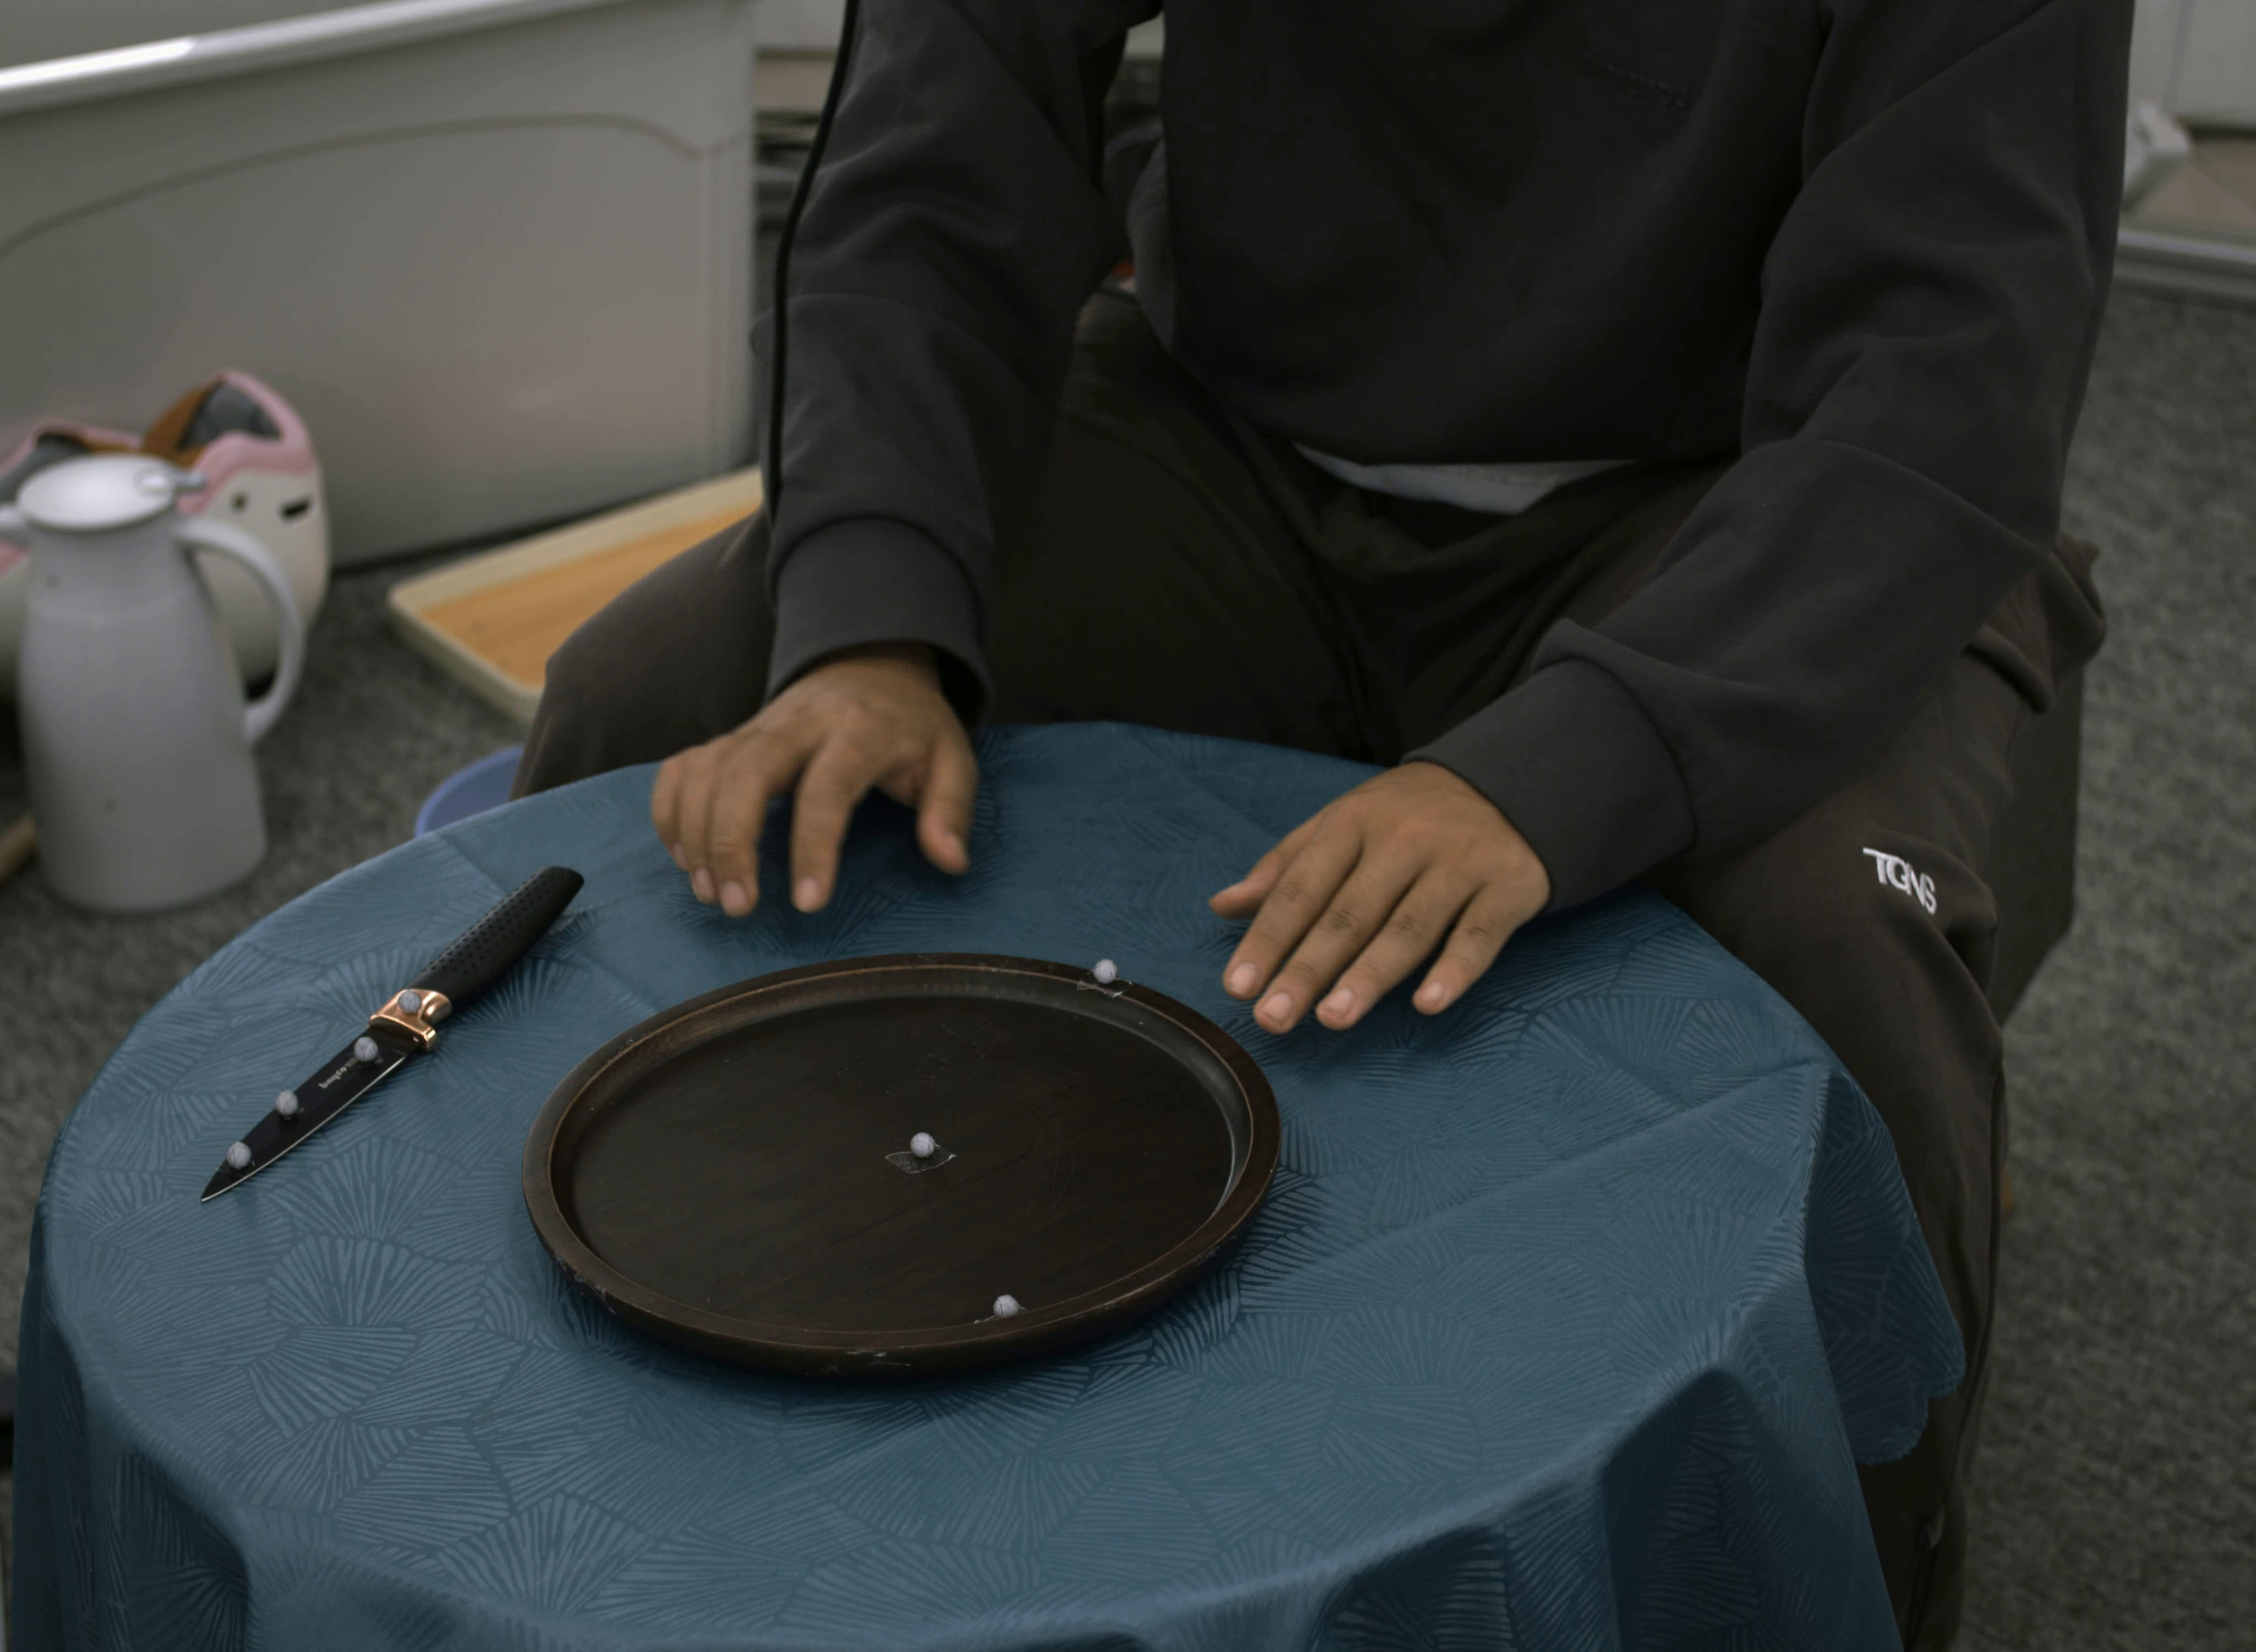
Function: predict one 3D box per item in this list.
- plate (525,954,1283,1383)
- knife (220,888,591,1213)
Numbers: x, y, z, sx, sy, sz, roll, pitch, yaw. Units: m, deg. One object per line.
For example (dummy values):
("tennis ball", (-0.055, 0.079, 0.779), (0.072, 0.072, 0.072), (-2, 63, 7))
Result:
("plate", (-0.074, 0.112, 1.865), (0.253, 0.029, 0.258), (-2, 26, 2))
("knife", (-0.253, 0.078, 1.961), (0.026, 0.017, 0.229), (17, 34, 23))
